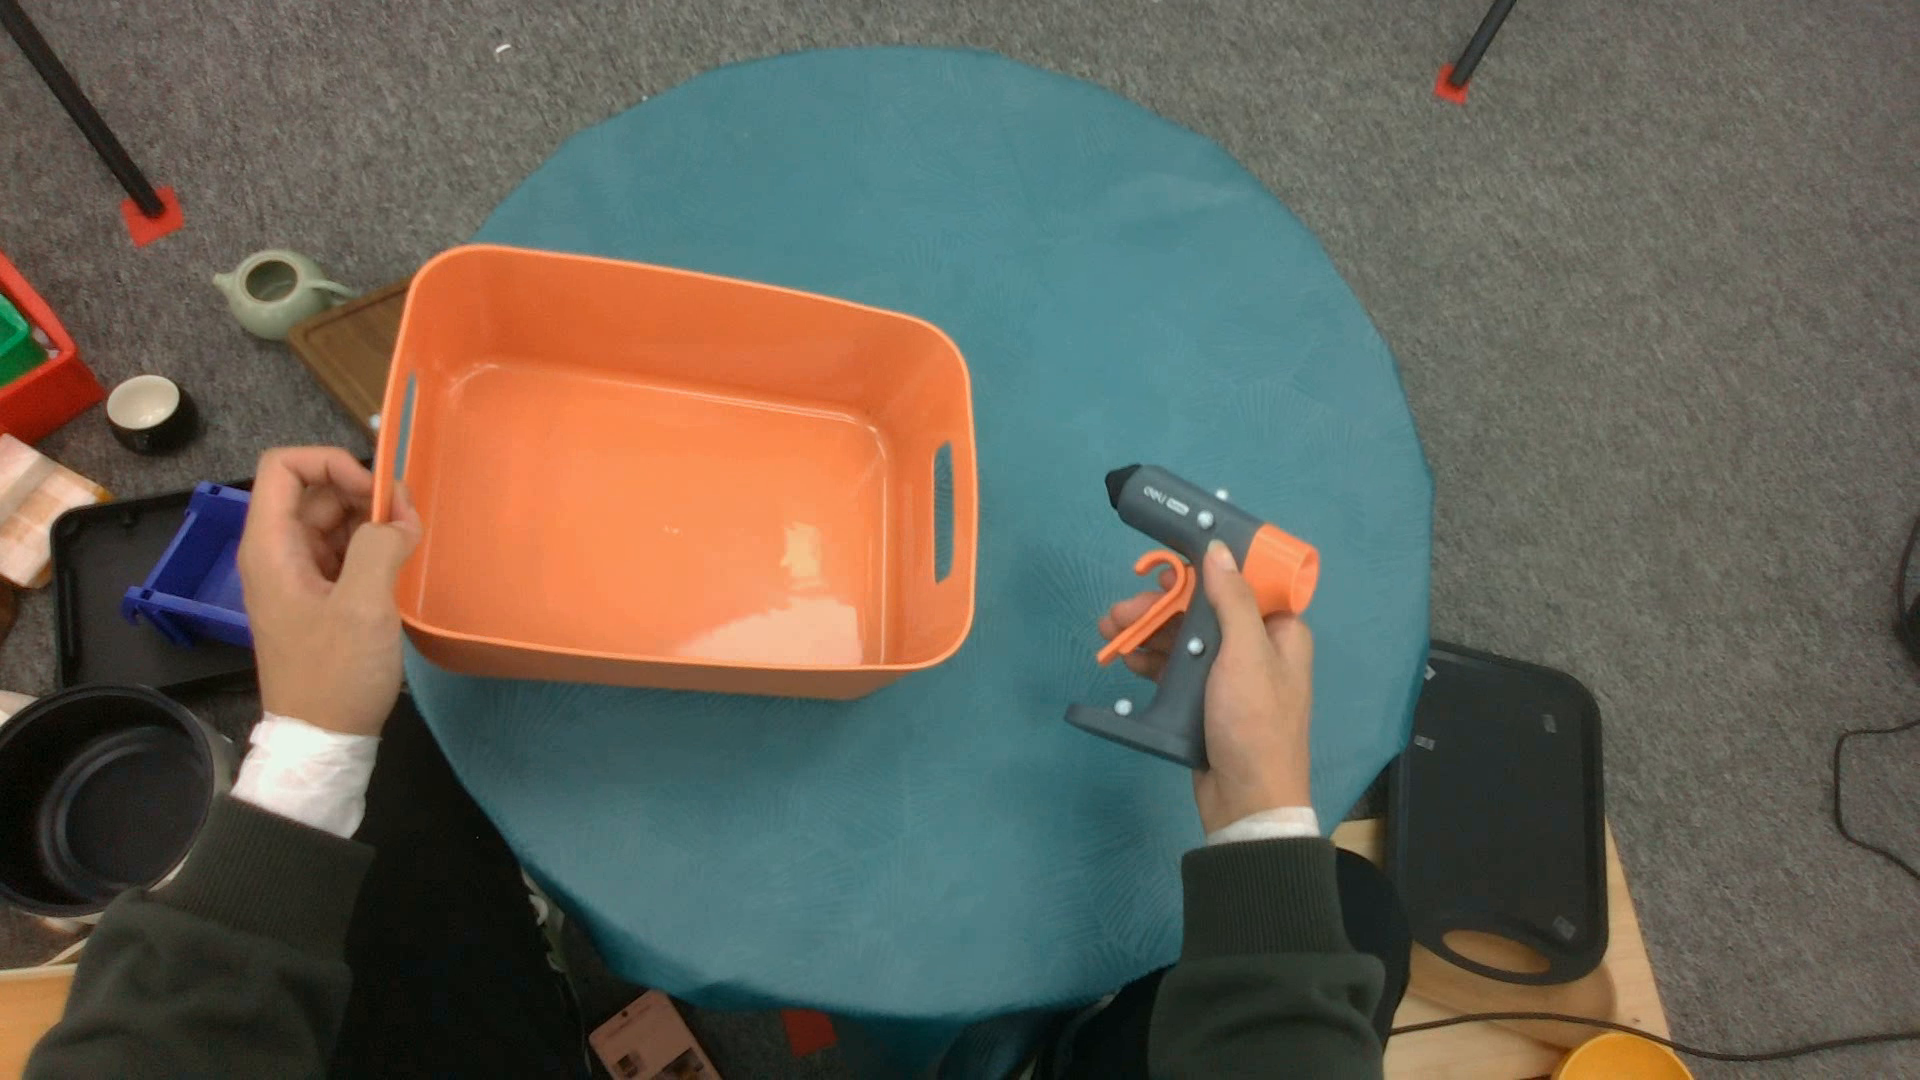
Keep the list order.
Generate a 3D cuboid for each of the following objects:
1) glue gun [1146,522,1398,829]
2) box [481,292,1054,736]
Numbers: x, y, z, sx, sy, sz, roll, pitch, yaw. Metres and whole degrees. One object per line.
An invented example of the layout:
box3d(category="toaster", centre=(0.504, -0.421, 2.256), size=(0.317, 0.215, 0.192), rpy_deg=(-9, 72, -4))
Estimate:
box3d(category="glue gun", centre=(0.143, 0.061, 0.675), size=(0.118, 0.041, 0.140), rpy_deg=(13, 74, 39))
box3d(category="box", centre=(-0.095, -0.002, 0.705), size=(0.273, 0.102, 0.200), rpy_deg=(8, 66, -15))
